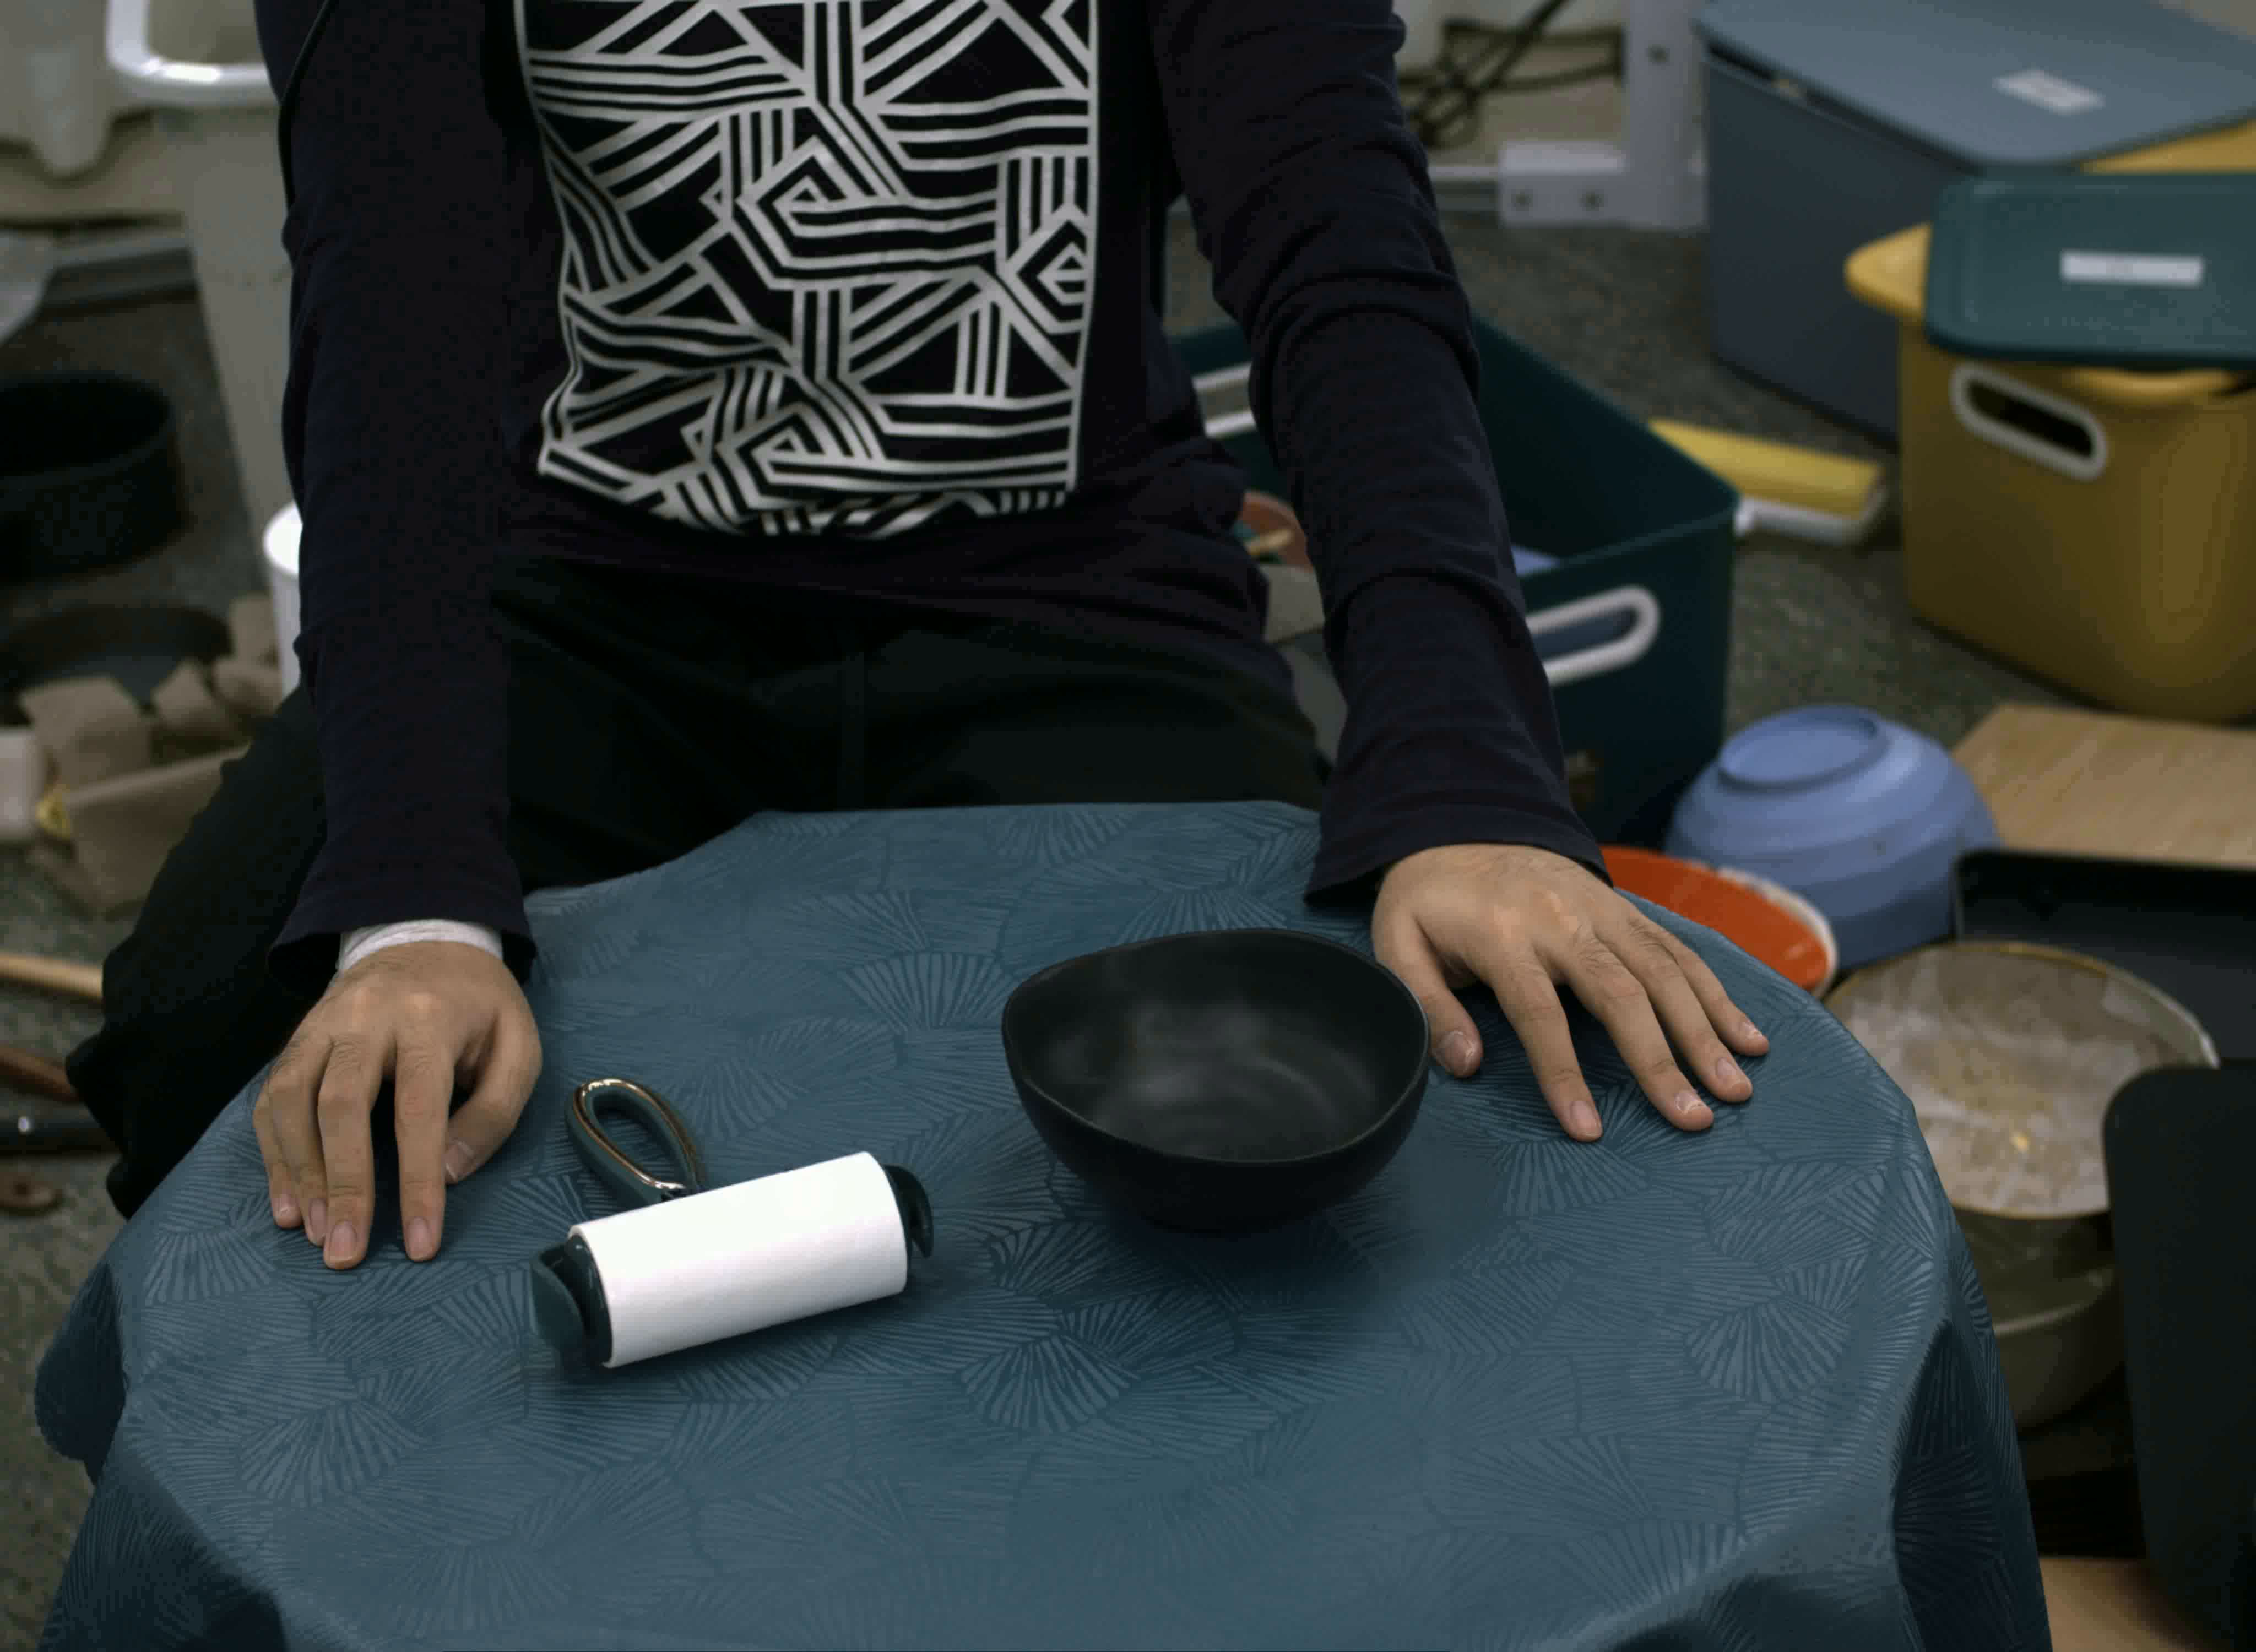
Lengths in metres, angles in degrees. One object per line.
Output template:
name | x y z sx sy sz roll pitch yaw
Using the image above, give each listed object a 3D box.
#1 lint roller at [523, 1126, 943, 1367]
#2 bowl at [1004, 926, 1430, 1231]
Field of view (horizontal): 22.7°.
lint roller | -0.151 0.116 1.847 0.135 0.048 0.181 -14 24 -19
bowl | 0.029 0.090 1.848 0.137 0.066 0.171 -12 26 -16
